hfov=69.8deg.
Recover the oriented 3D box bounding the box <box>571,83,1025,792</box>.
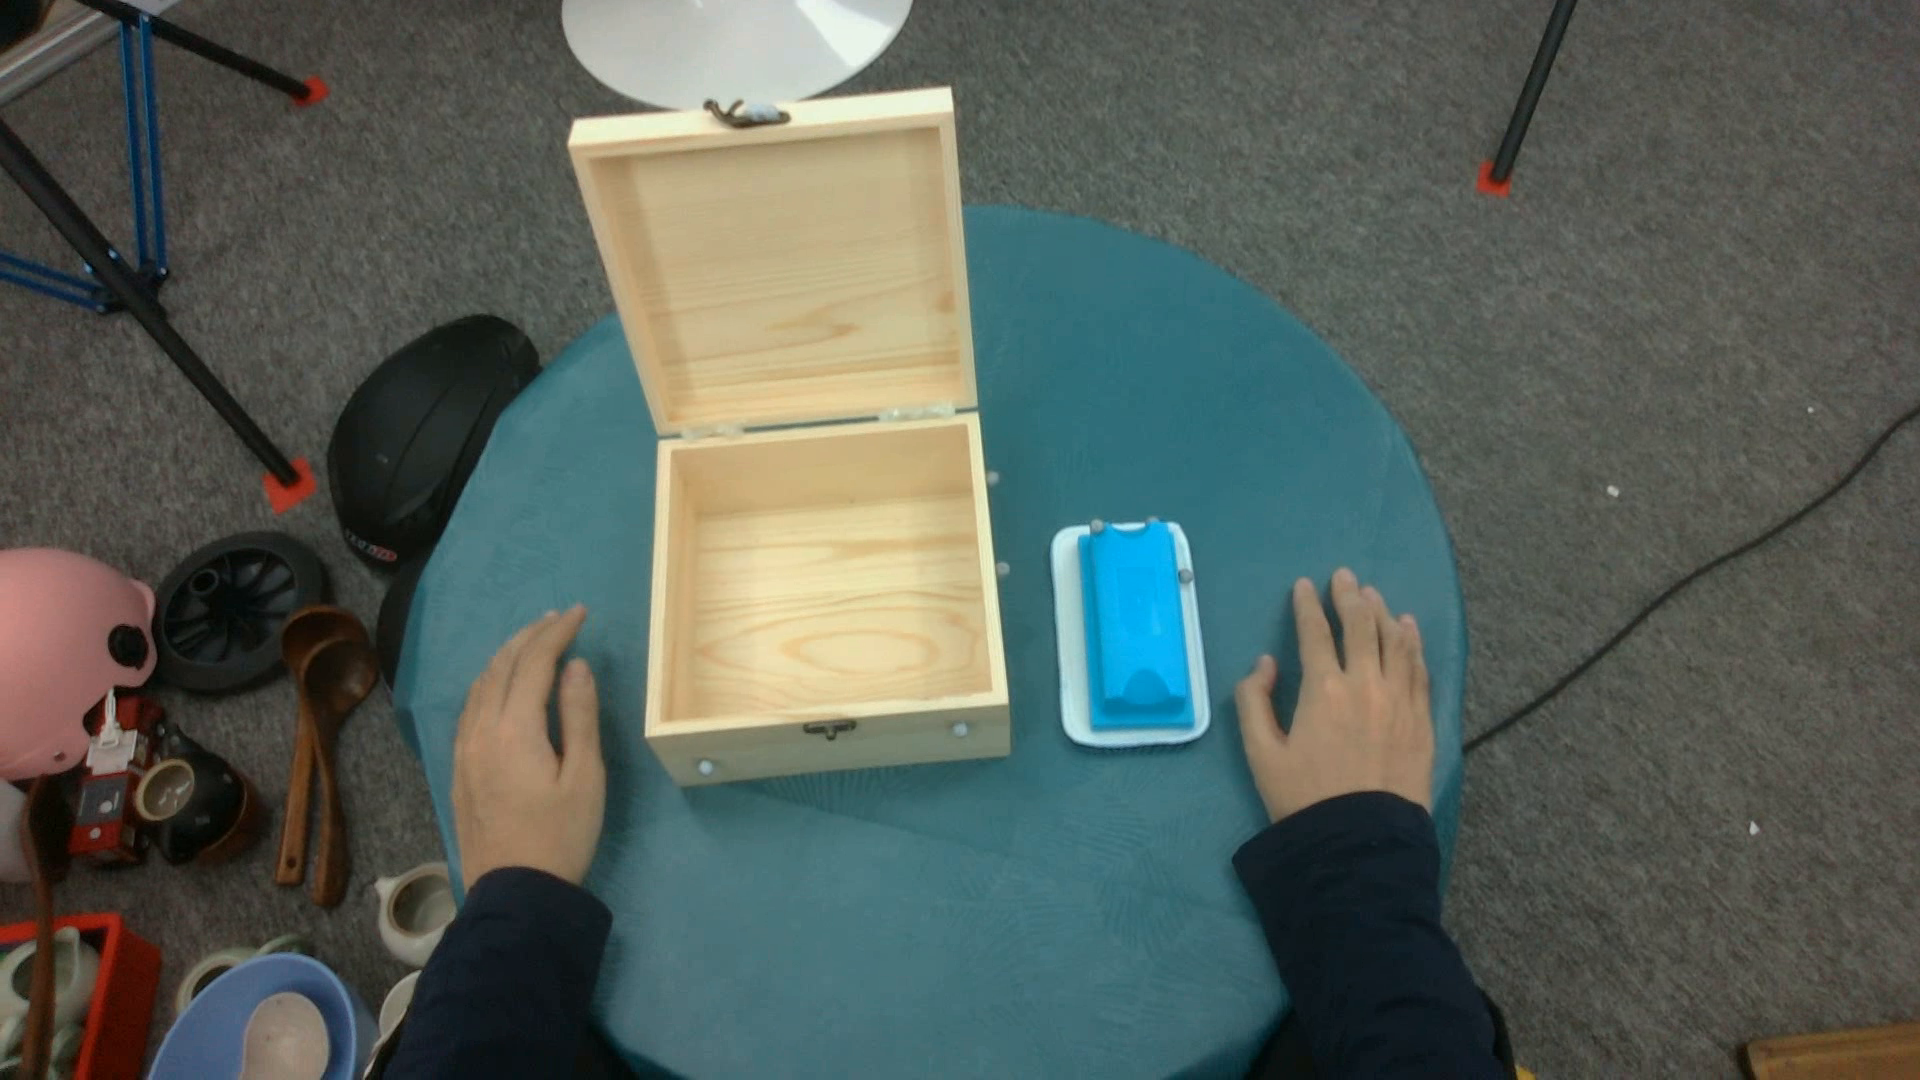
[{"bbox_3d":[-0.075,-0.041,0.707,0.182,0.252,0.266,-8,60,1],"label":"box"}]

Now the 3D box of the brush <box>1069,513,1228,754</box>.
[{"bbox_3d":[0.100,0.044,0.756,0.084,0.056,0.144,-4,57,6],"label":"brush"}]
